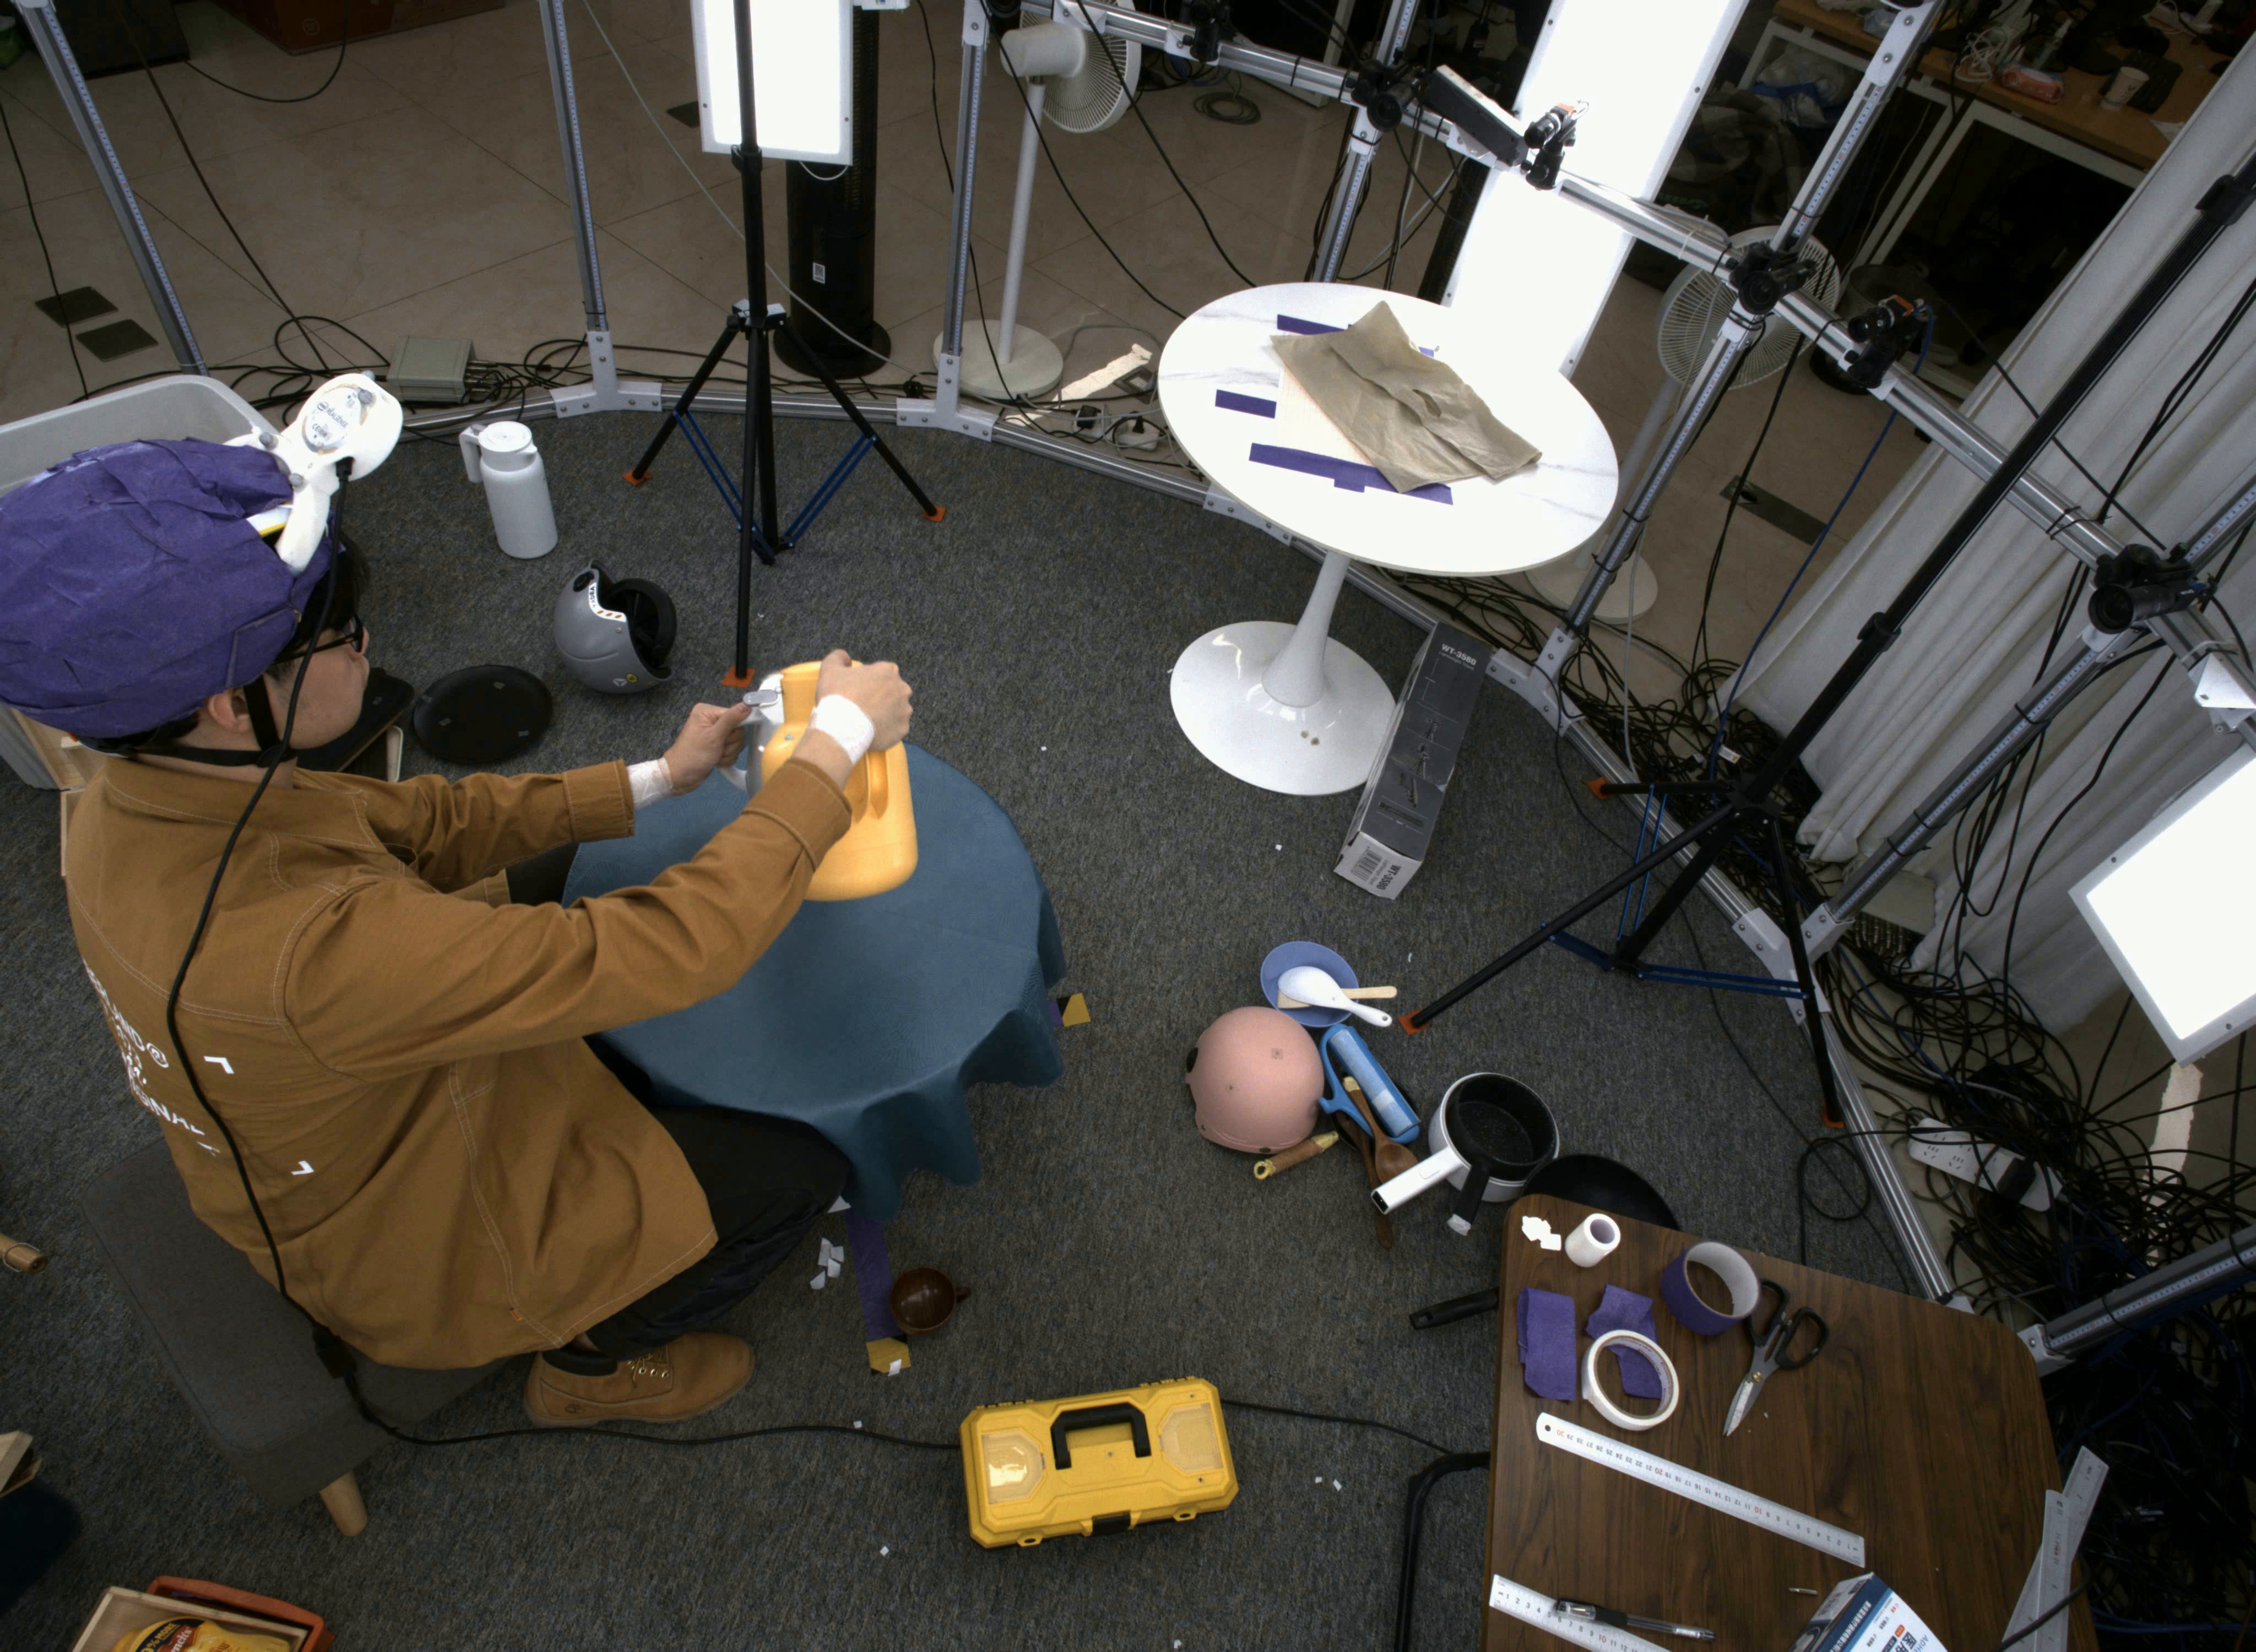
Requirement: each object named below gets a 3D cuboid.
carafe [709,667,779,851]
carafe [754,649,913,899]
[{"bbox_3d":[-0.435,-0.084,1.621,0.168,0.254,0.129,-4,53,-14],"label":"carafe"},{"bbox_3d":[-0.320,-0.058,1.413,0.165,0.266,0.196,-13,14,-32],"label":"carafe"}]
